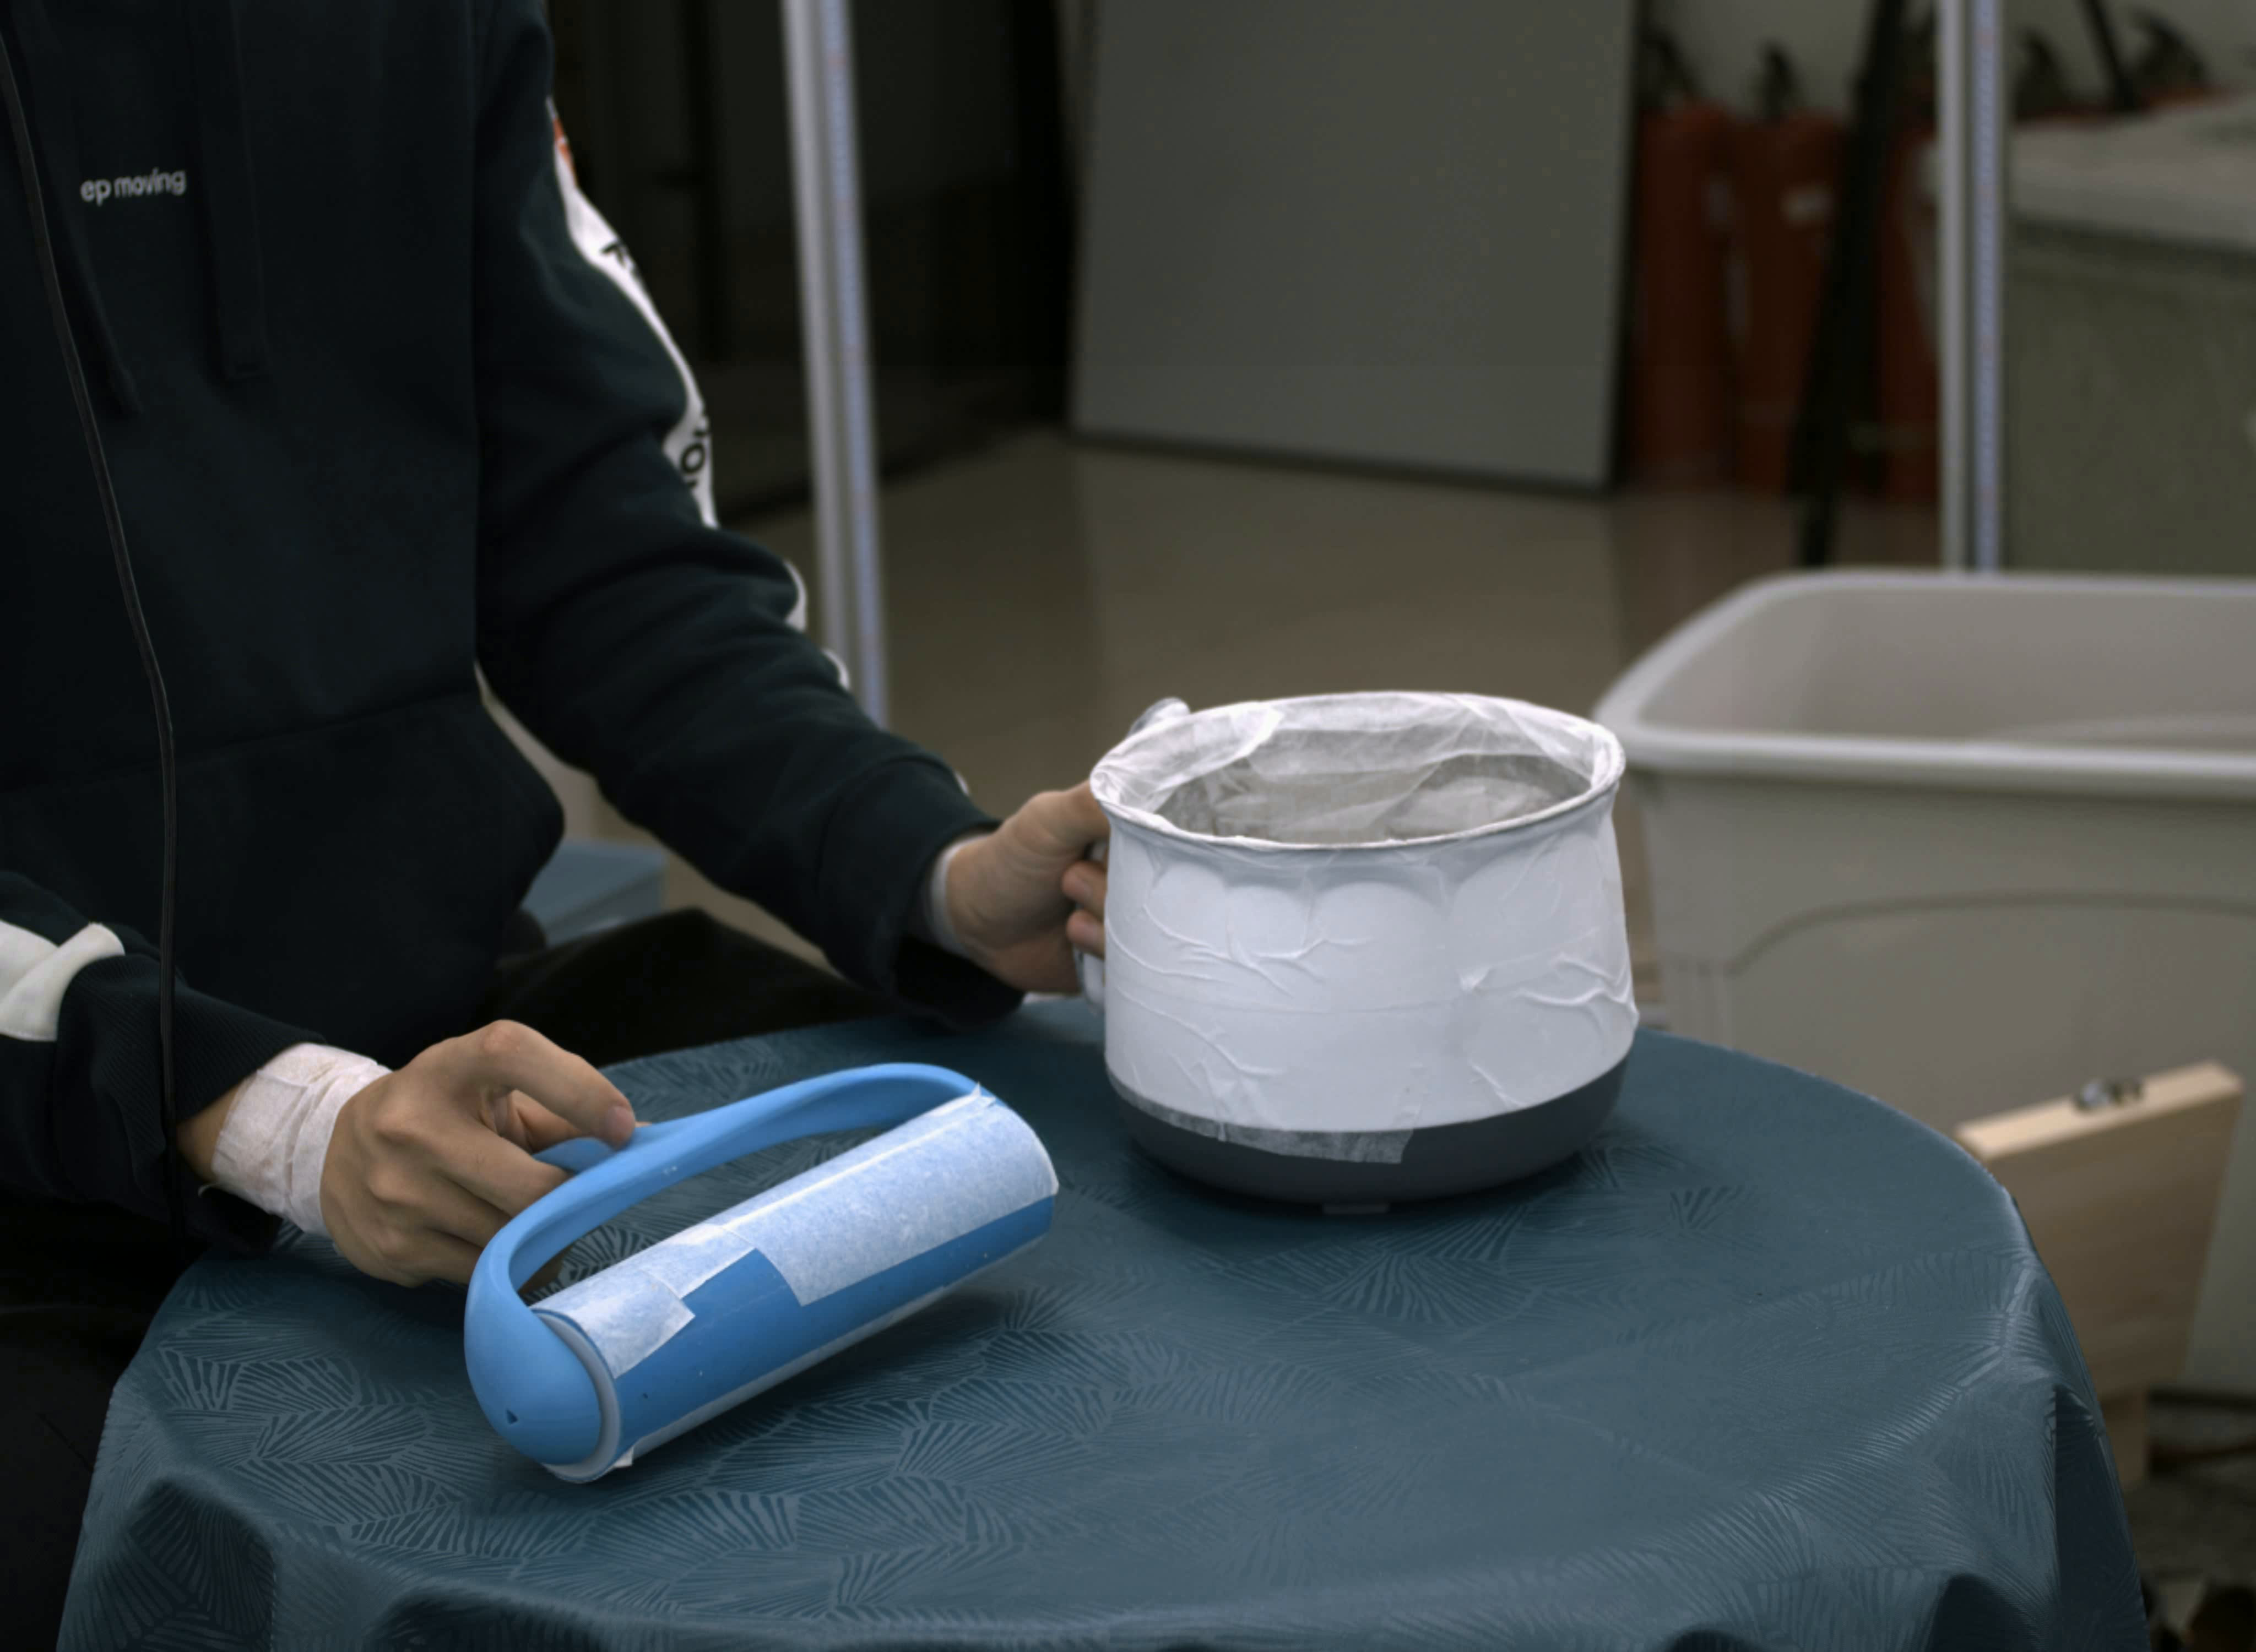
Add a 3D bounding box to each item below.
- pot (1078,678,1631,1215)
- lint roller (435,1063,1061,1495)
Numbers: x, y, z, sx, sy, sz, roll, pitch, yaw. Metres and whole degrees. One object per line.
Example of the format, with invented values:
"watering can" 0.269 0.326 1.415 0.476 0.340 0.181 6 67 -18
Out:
"pot" 0.061 0.033 1.798 0.175 0.138 0.236 -16 21 -35
"lint roller" -0.146 0.127 1.639 0.181 0.068 0.225 10 26 35
